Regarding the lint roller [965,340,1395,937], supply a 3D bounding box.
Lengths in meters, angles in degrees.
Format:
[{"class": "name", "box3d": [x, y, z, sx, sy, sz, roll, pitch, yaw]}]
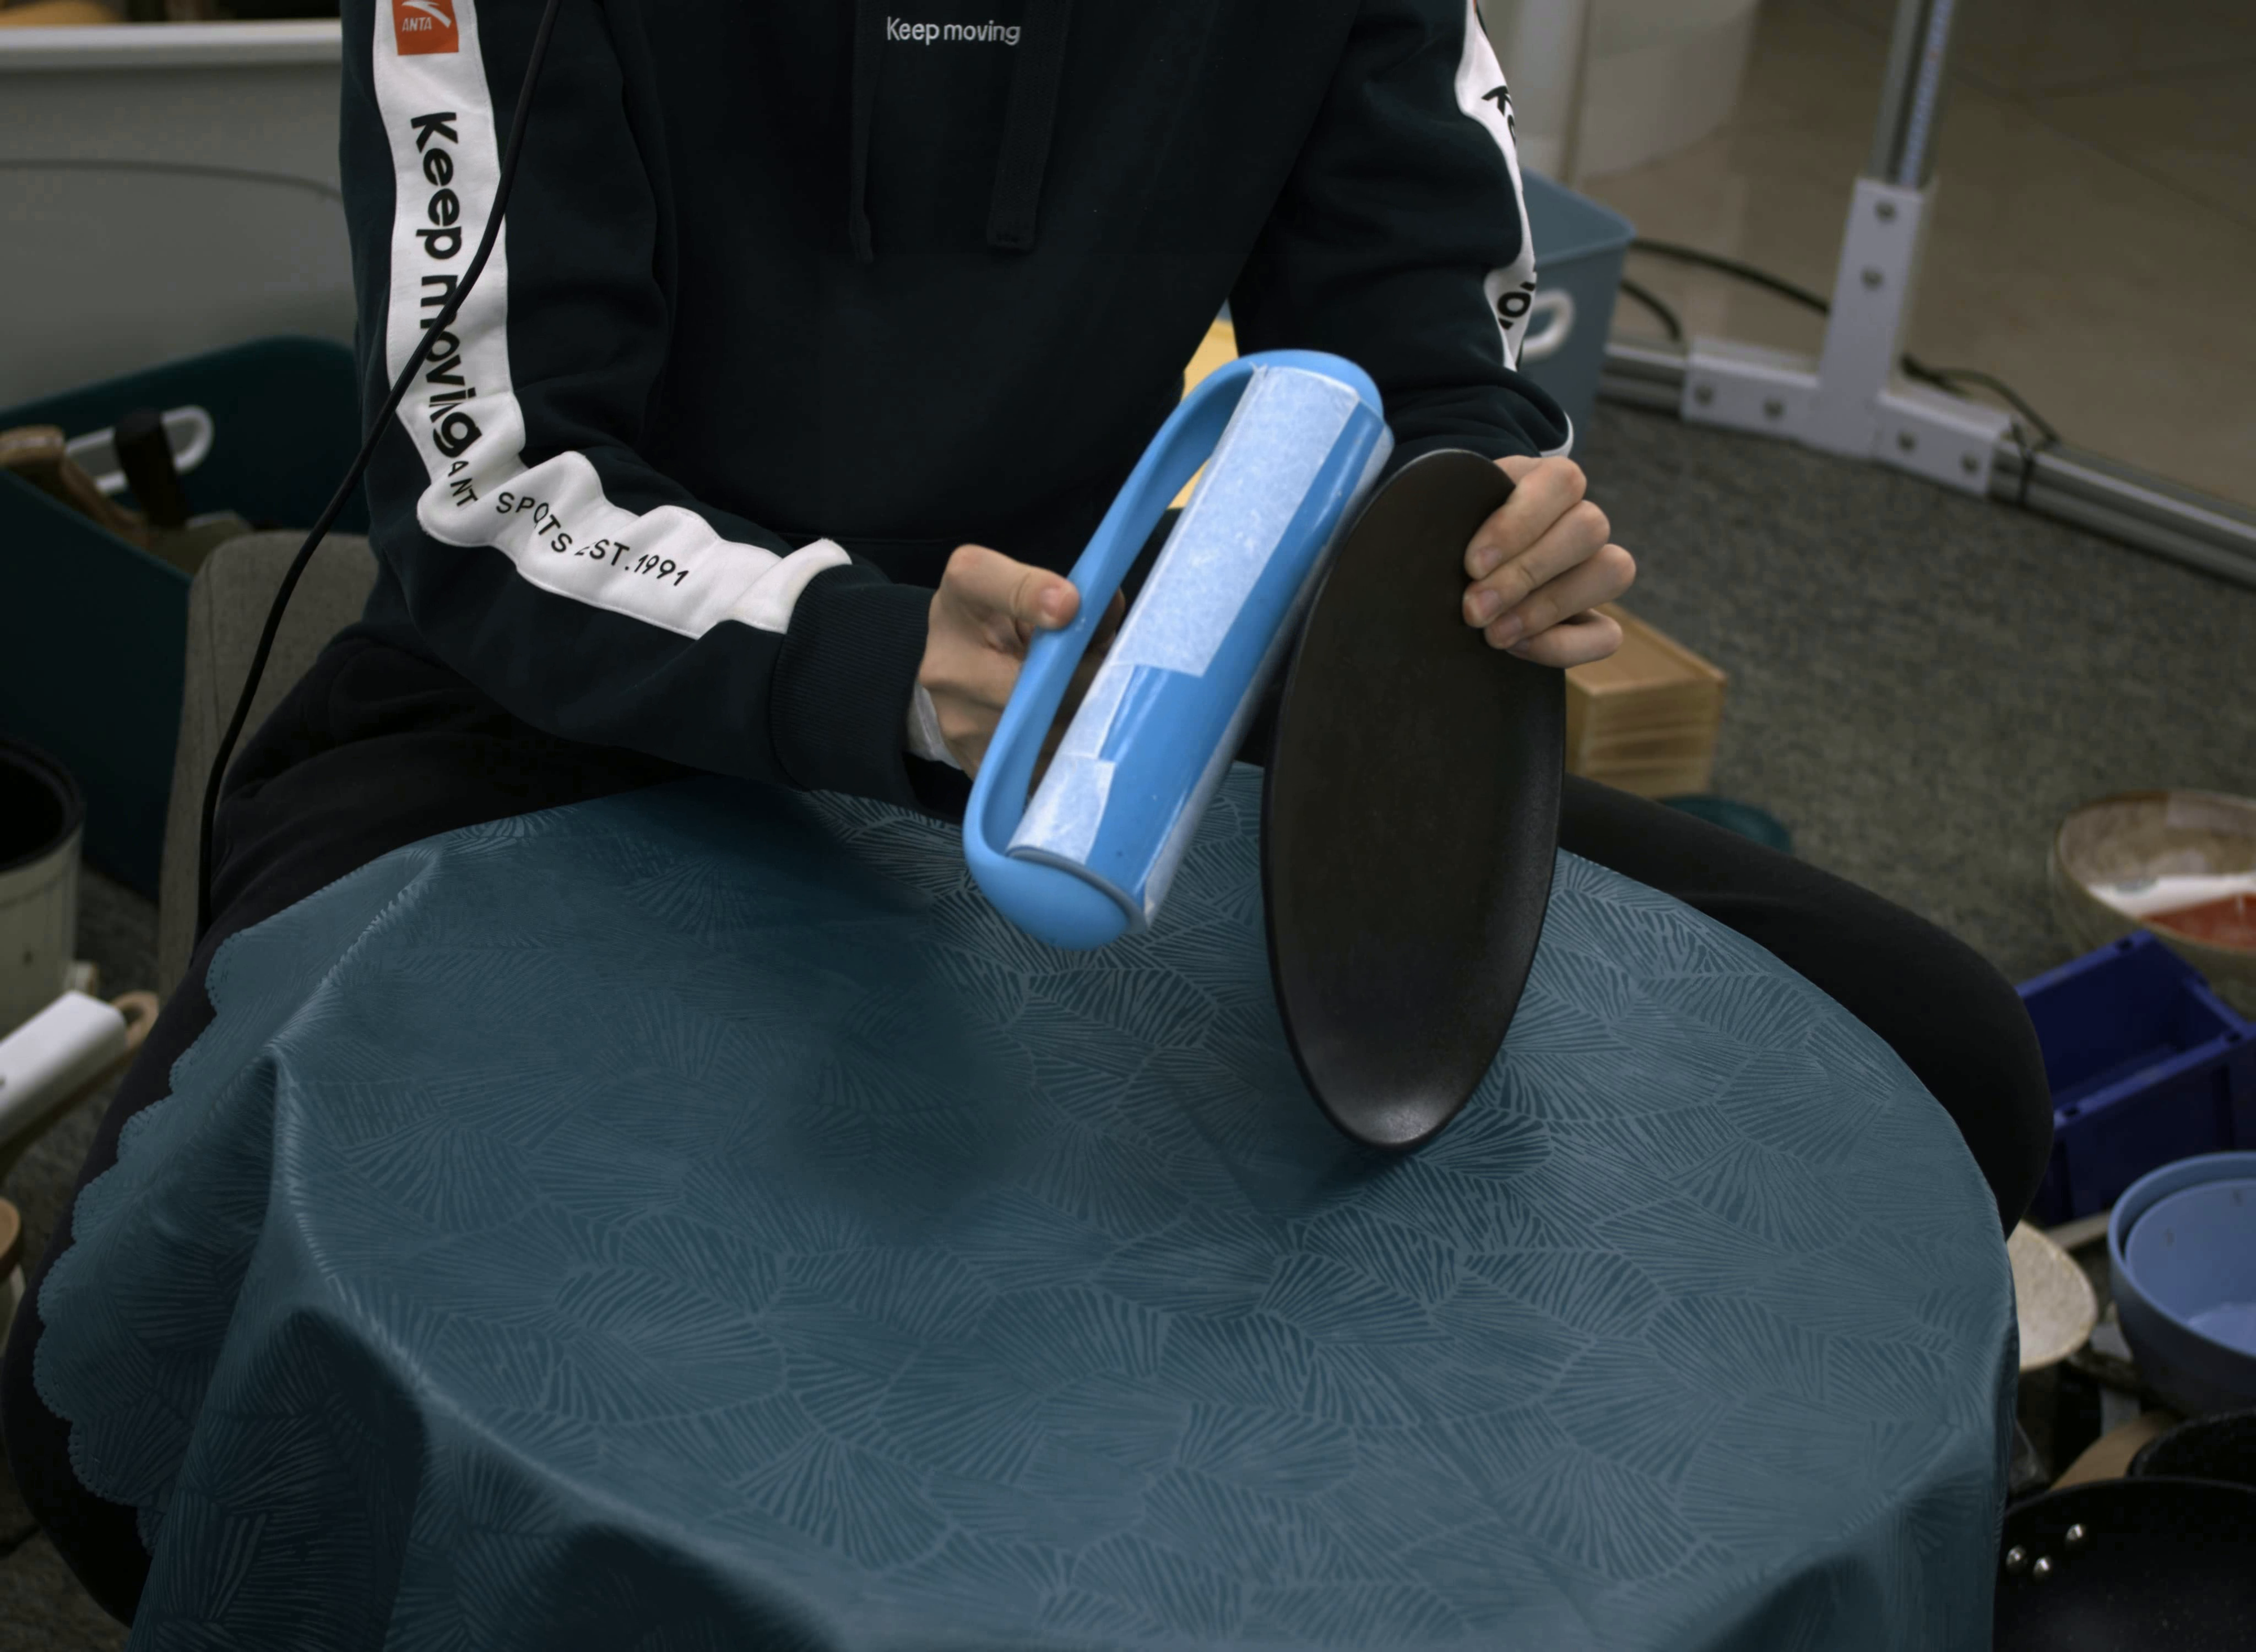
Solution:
[{"class": "lint roller", "box3d": [-0.002, -0.052, 1.801, 0.067, 0.230, 0.180, 32, -23, -17]}]

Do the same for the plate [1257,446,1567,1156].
[{"class": "plate", "box3d": [0.094, -0.009, 1.826, 0.023, 0.244, 0.244, 5, 23, 27]}]
